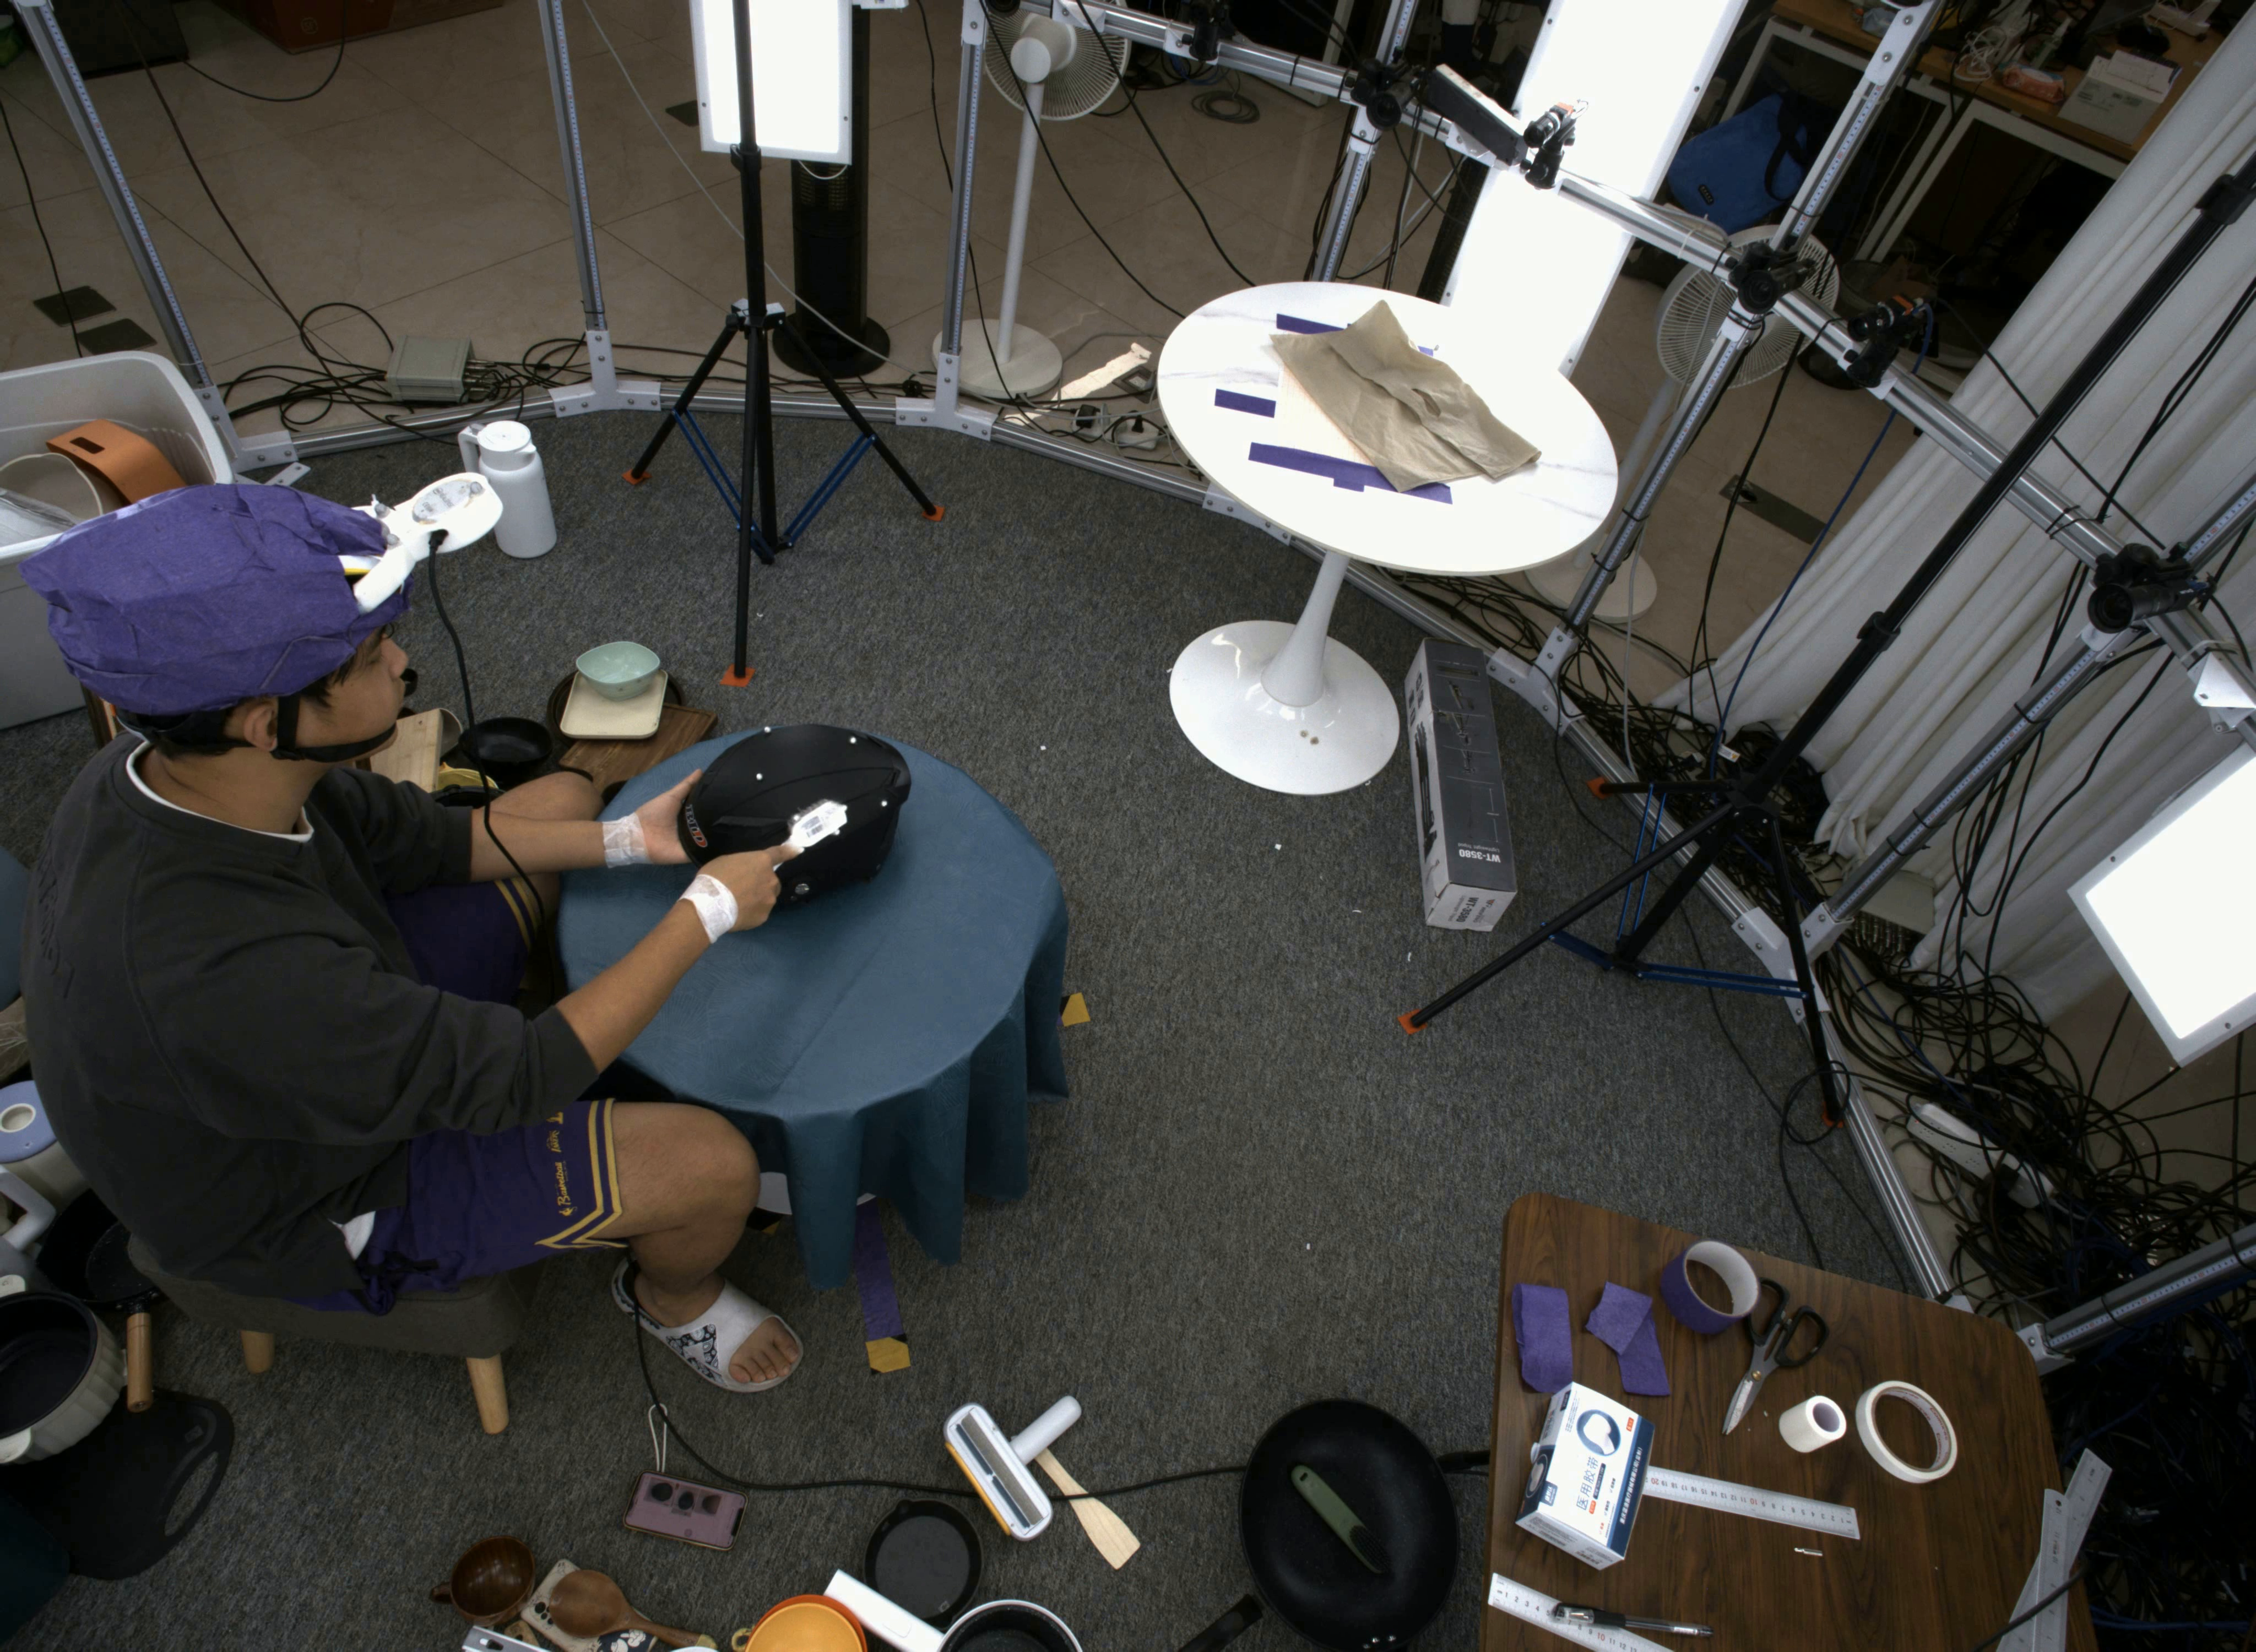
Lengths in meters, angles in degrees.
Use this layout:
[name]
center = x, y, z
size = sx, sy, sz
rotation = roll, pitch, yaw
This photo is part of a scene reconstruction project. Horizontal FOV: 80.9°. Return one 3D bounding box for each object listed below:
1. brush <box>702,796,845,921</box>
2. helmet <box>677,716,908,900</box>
[brush]
center = -0.410, 0.035, 1.478
size = 0.243, 0.049, 0.035
rotation = -48, 119, -46
[helmet]
center = -0.419, -0.039, 1.640
size = 0.281, 0.174, 0.240
rotation = -7, 52, -36
